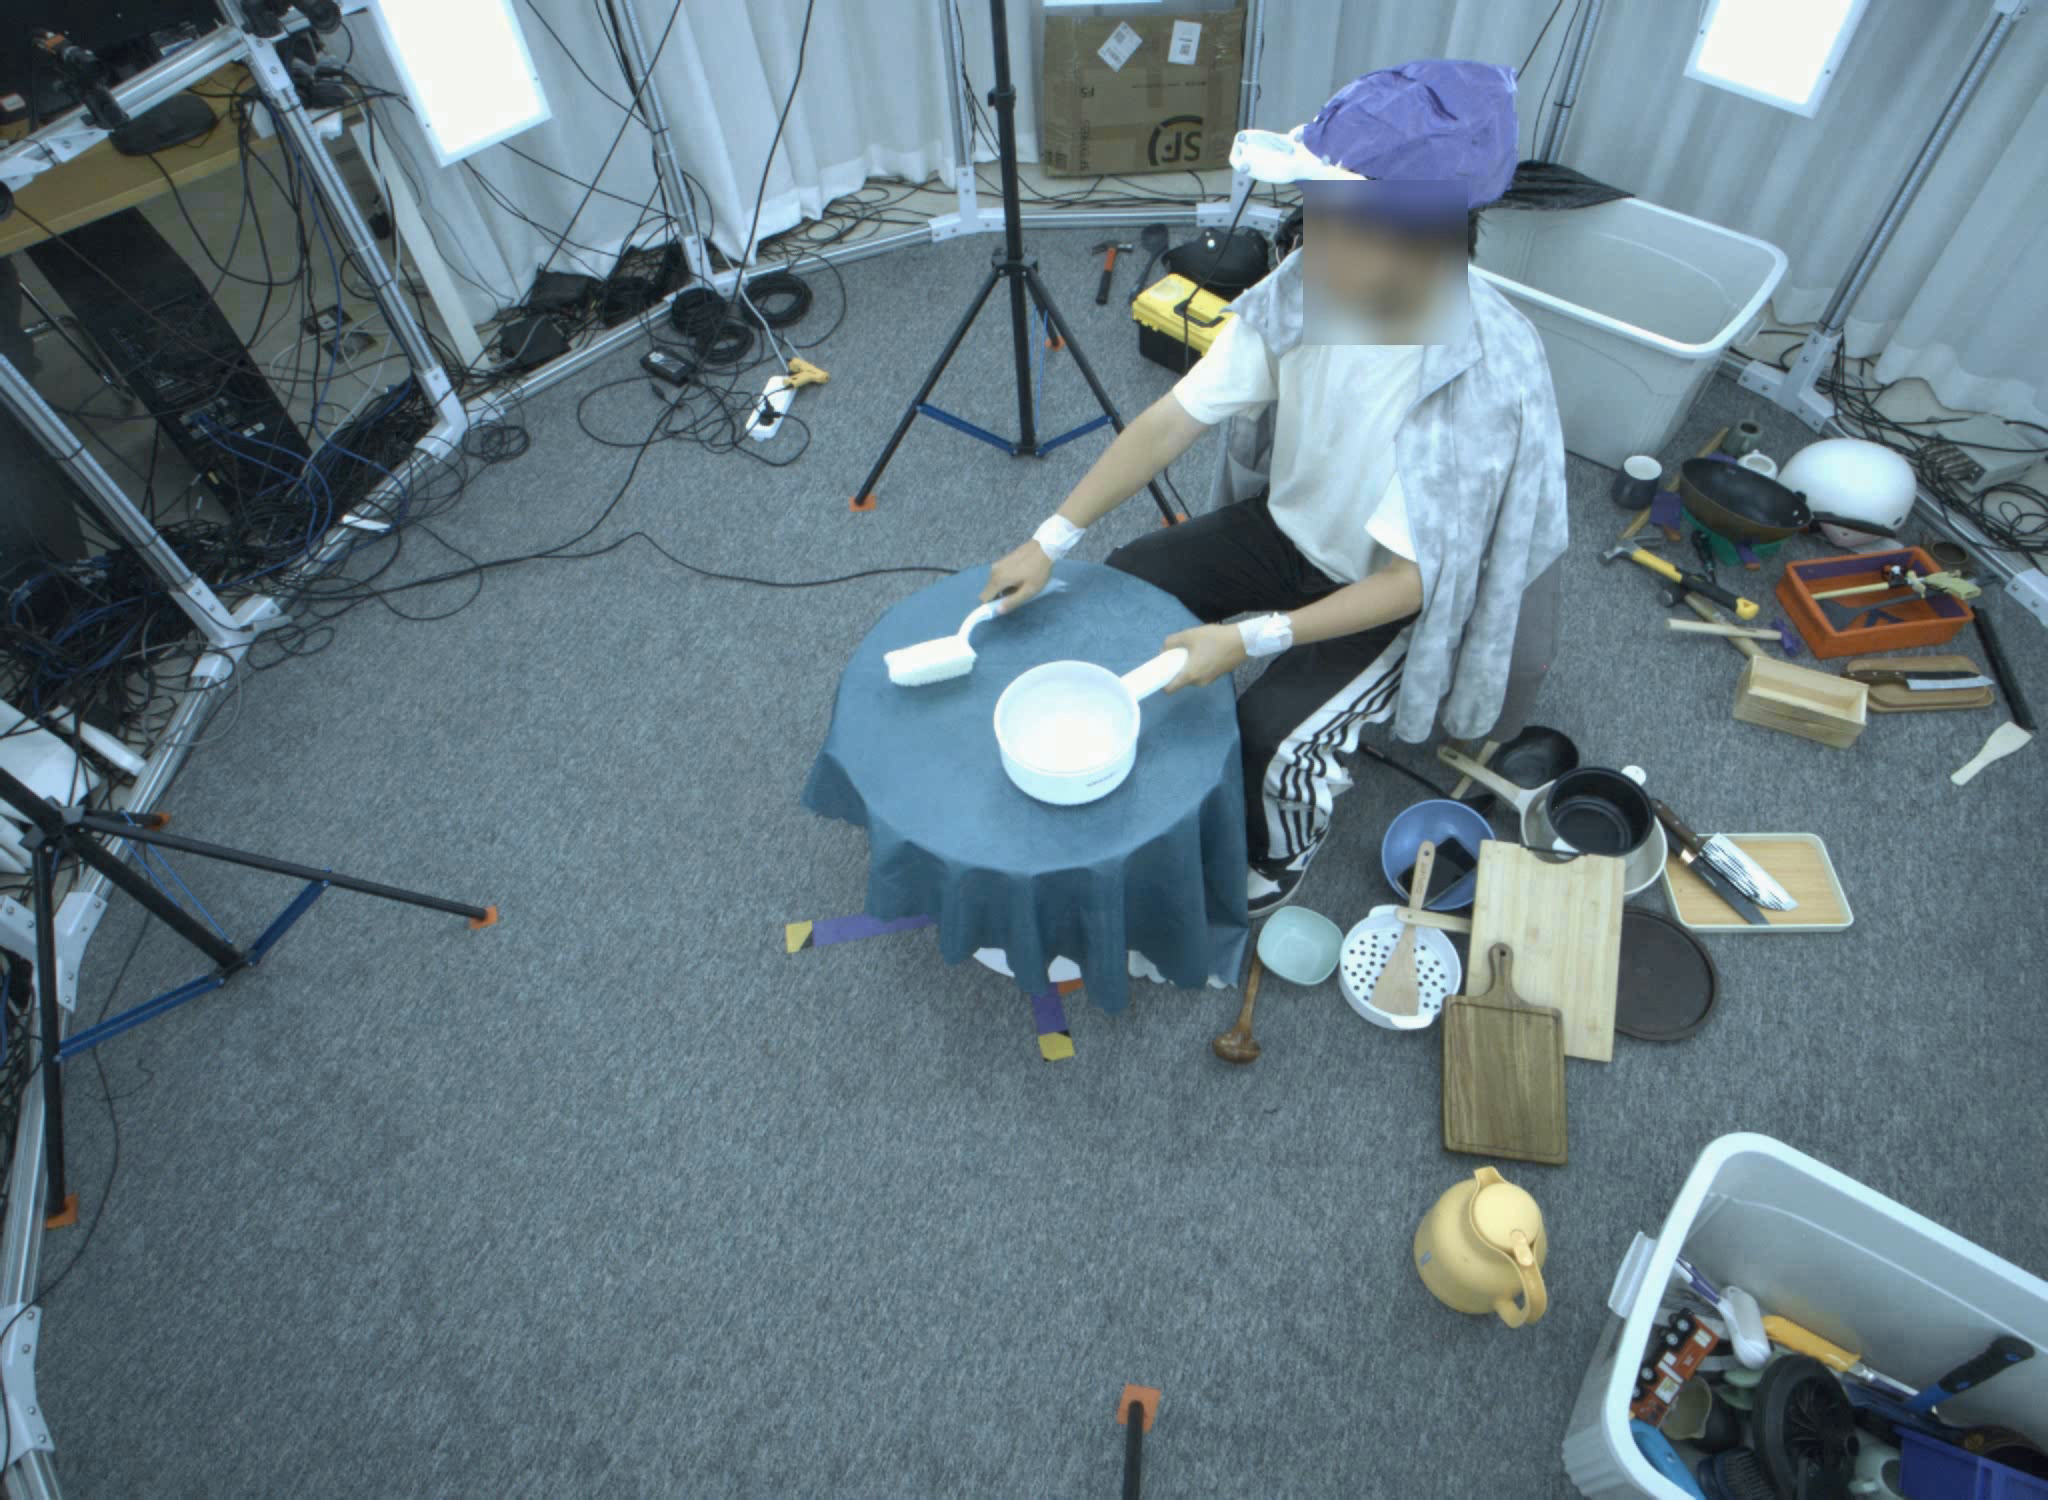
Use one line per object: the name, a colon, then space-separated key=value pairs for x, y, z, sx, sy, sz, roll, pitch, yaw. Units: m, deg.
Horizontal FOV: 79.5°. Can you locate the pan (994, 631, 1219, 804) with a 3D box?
pan: x=0.125 y=-0.055 z=1.764 sx=0.358 sy=0.103 sz=0.197 roll=-29 pitch=58 yaw=-18

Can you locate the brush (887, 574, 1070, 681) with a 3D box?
brush: x=-0.053 y=-0.178 z=1.876 sx=0.328 sy=0.085 sz=0.081 roll=-26 pitch=20 yaw=-20
